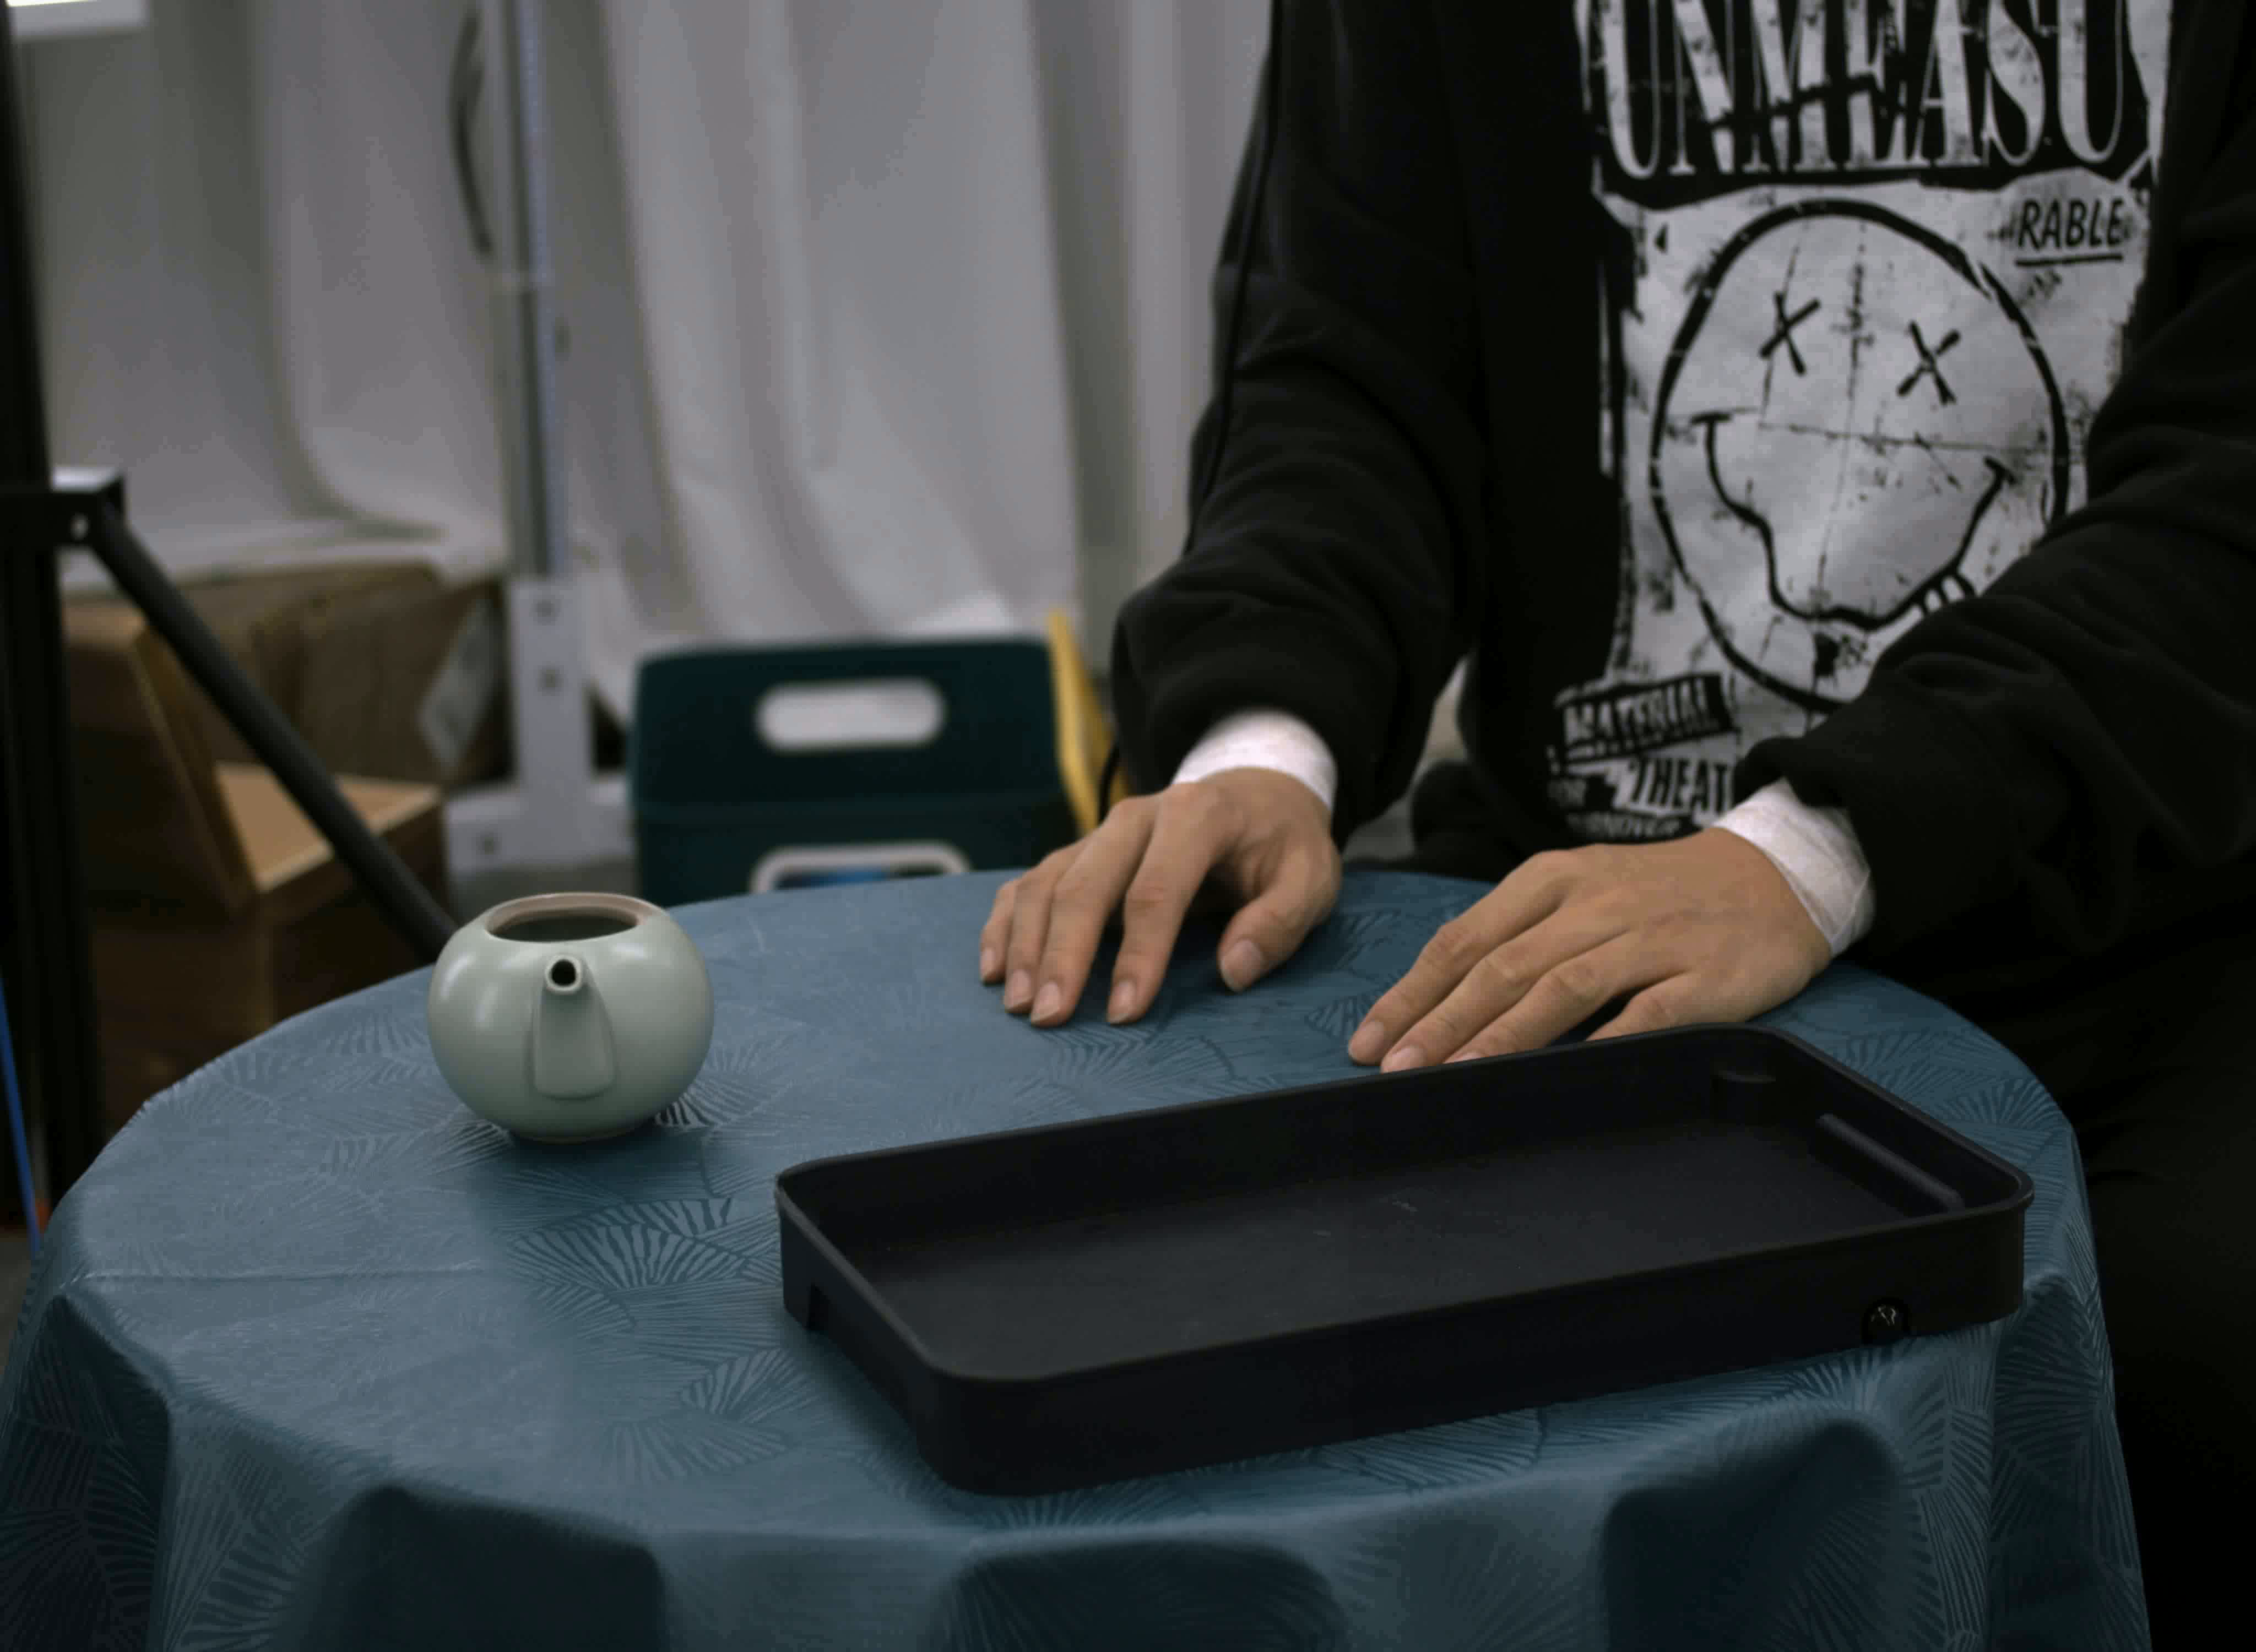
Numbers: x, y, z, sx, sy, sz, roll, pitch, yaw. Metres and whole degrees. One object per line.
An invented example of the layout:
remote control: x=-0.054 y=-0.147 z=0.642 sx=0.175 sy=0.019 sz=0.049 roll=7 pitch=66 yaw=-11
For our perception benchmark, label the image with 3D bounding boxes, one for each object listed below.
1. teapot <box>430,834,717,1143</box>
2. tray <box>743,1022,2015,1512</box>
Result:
teapot: x=-0.170 y=0.056 z=1.634 sx=0.088 sy=0.074 sz=0.145 roll=-3 pitch=17 yaw=-3
tray: x=0.068 y=0.115 z=1.452 sx=0.312 sy=0.037 sz=0.187 roll=-8 pitch=17 yaw=-19
